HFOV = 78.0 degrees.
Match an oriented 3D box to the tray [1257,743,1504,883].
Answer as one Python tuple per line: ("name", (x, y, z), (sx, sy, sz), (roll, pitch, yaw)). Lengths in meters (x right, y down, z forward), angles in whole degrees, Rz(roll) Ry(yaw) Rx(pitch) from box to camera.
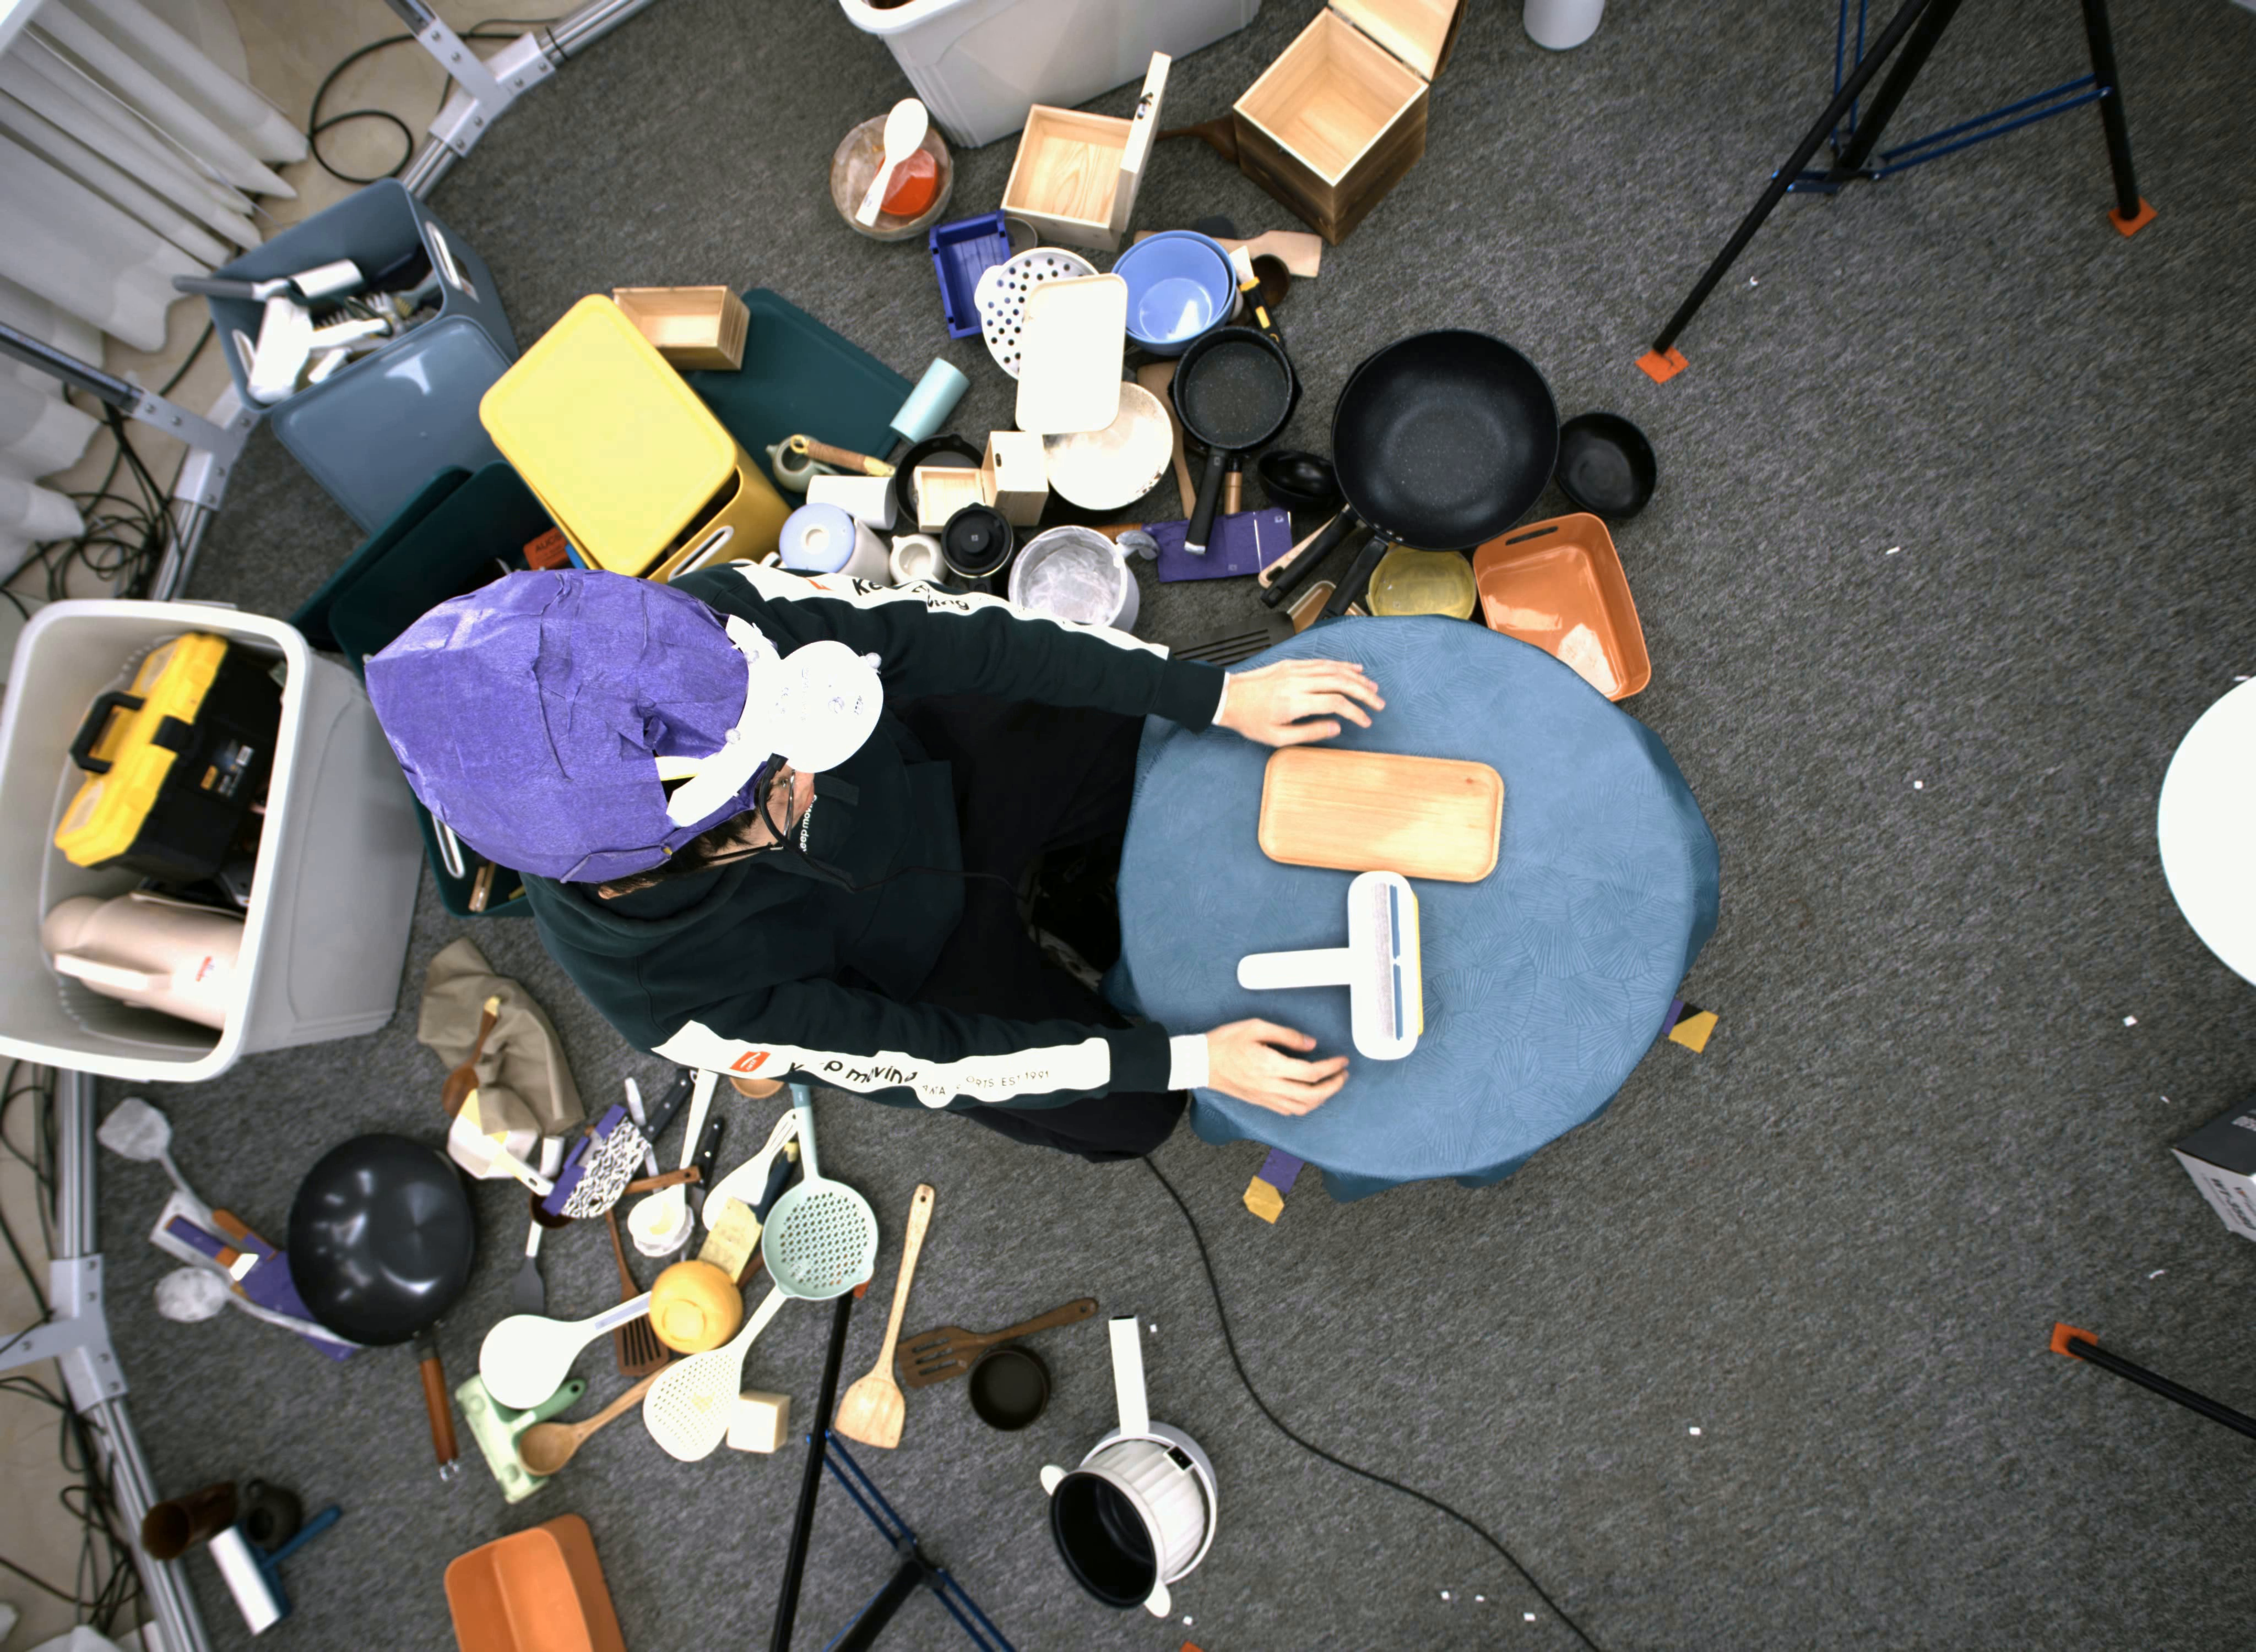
("tray", (0.265, -0.015, 1.452), (0.251, 0.023, 0.130), (7, 86, 11))

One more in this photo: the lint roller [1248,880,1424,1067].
("lint roller", (0.211, 0.150, 1.447), (0.193, 0.074, 0.191), (1, 80, 25))
